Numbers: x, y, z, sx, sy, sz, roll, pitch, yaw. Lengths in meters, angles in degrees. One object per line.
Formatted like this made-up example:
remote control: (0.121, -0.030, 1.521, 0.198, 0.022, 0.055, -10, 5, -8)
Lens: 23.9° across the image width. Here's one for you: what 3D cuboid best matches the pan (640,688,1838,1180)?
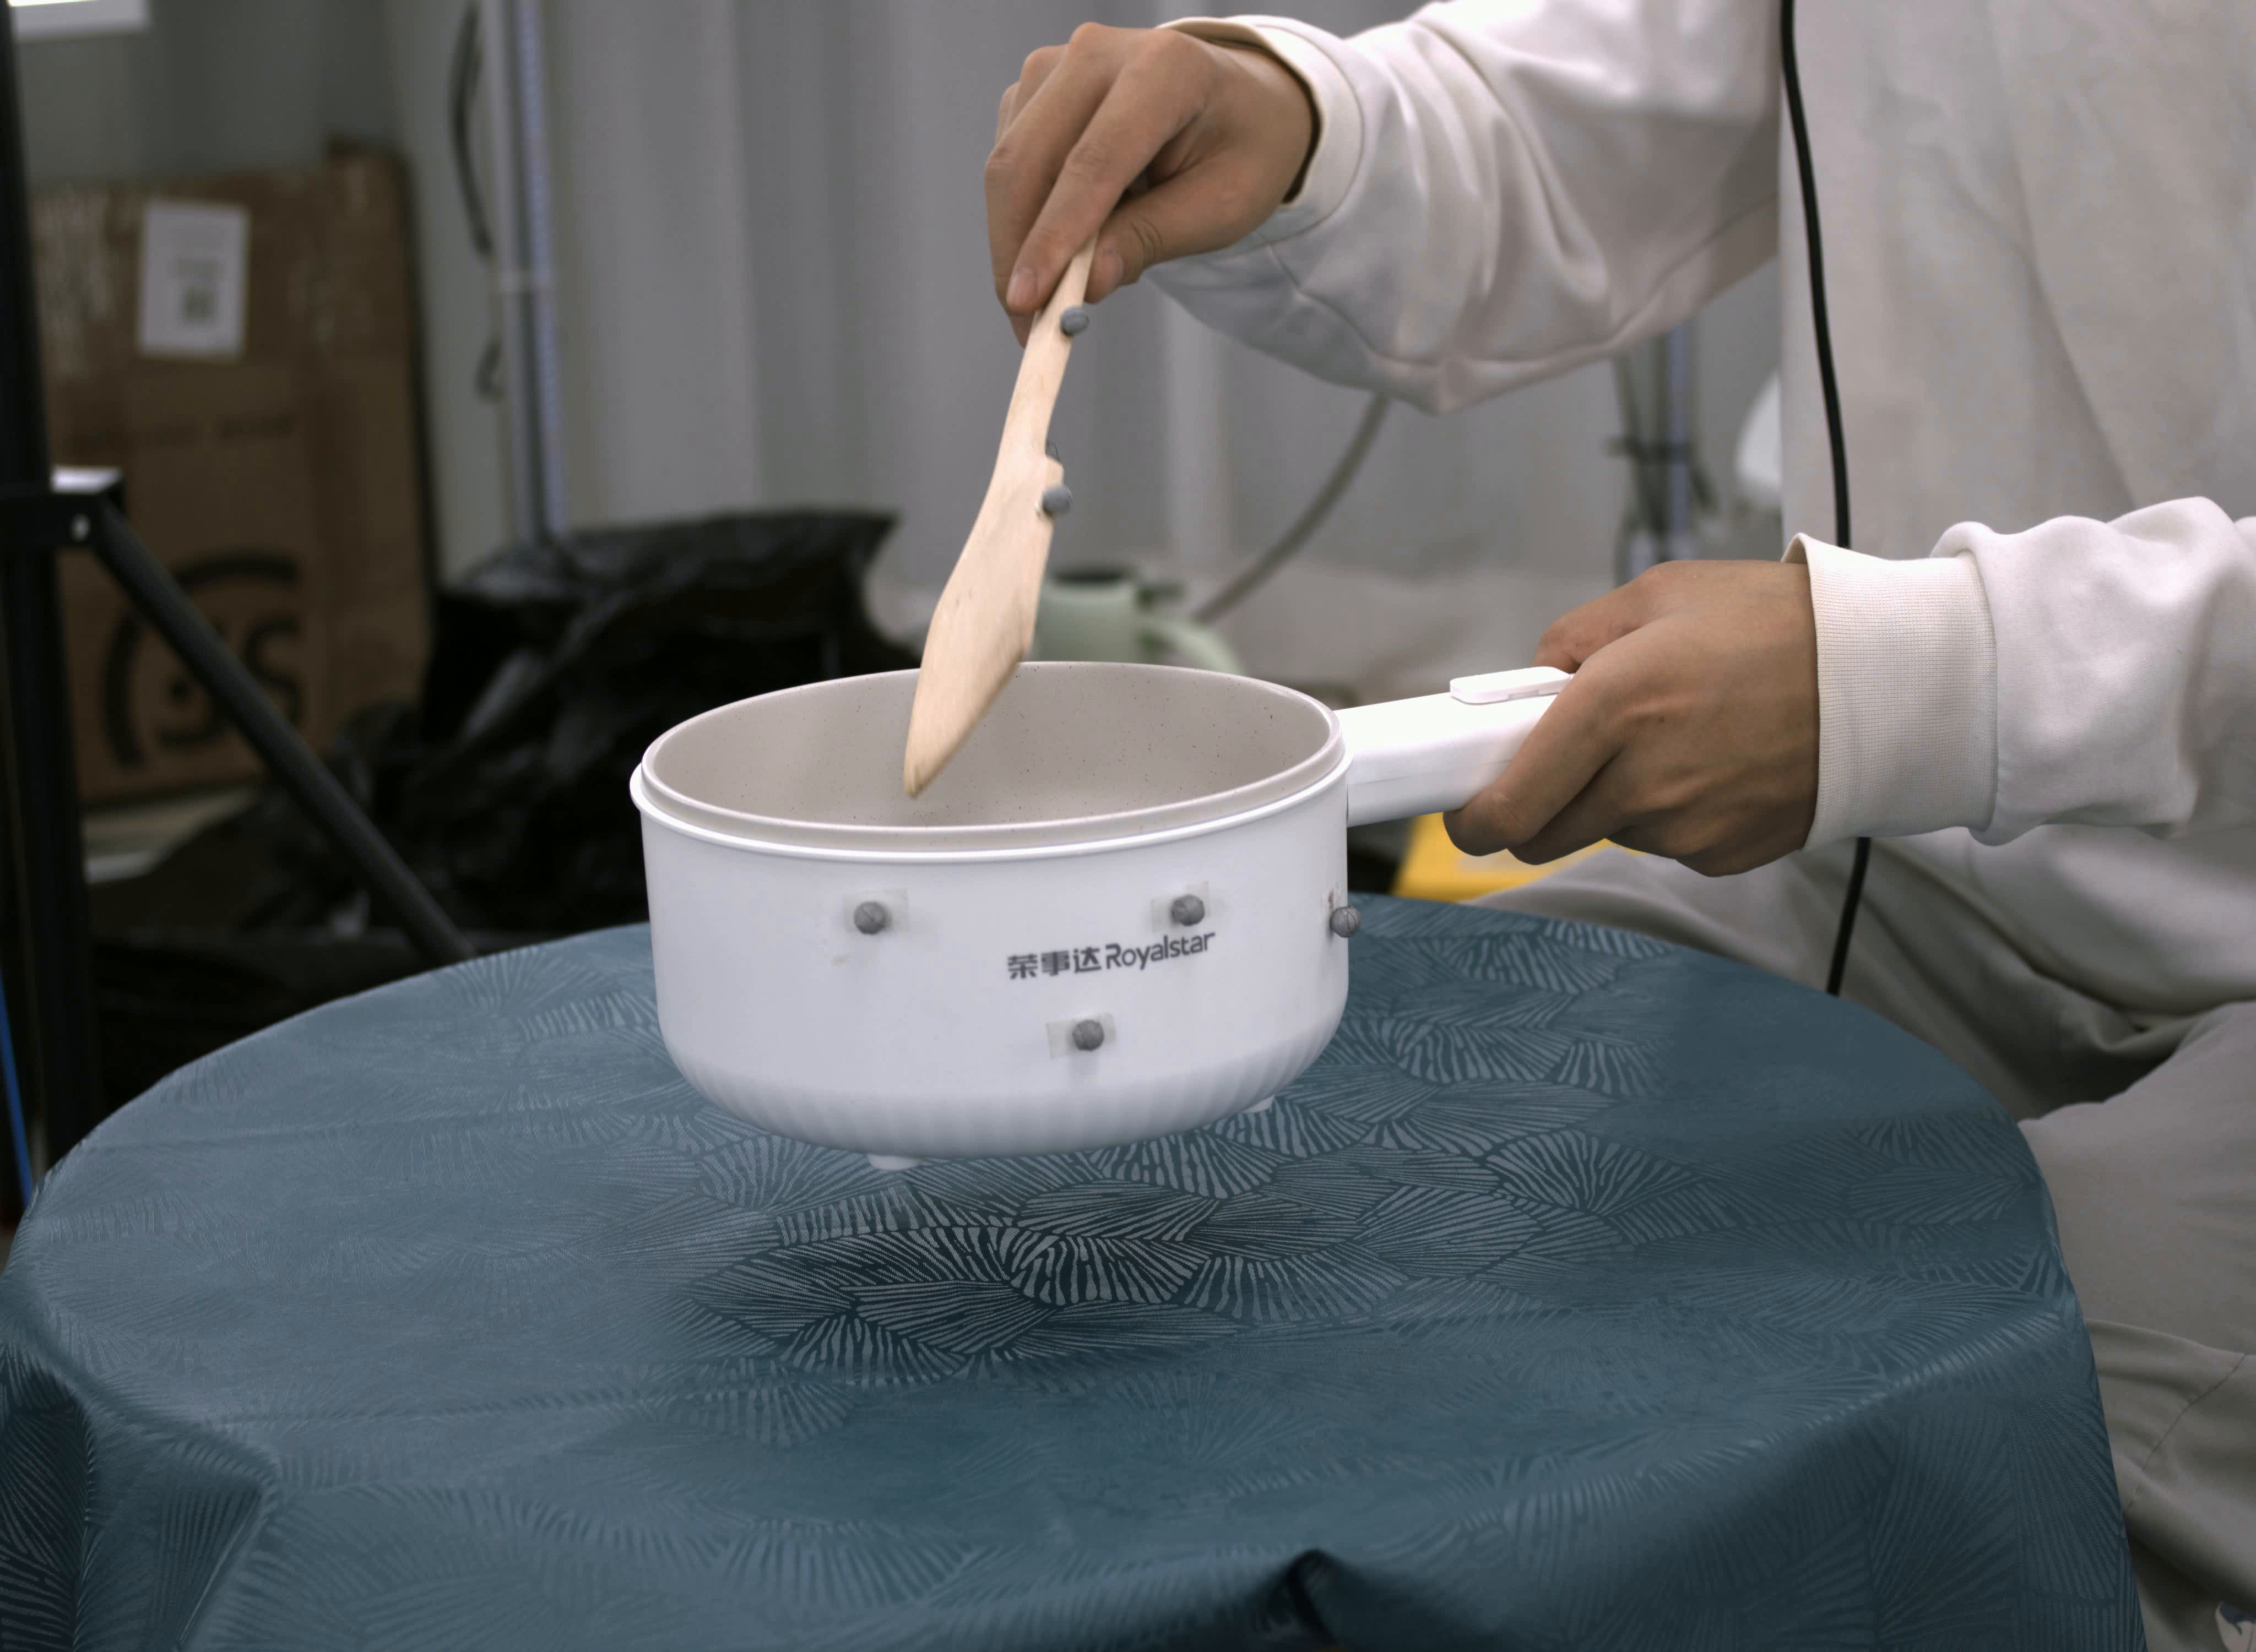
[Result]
pan: (0.036, 0.024, 1.511, 0.348, 0.102, 0.204, -6, 11, -19)
